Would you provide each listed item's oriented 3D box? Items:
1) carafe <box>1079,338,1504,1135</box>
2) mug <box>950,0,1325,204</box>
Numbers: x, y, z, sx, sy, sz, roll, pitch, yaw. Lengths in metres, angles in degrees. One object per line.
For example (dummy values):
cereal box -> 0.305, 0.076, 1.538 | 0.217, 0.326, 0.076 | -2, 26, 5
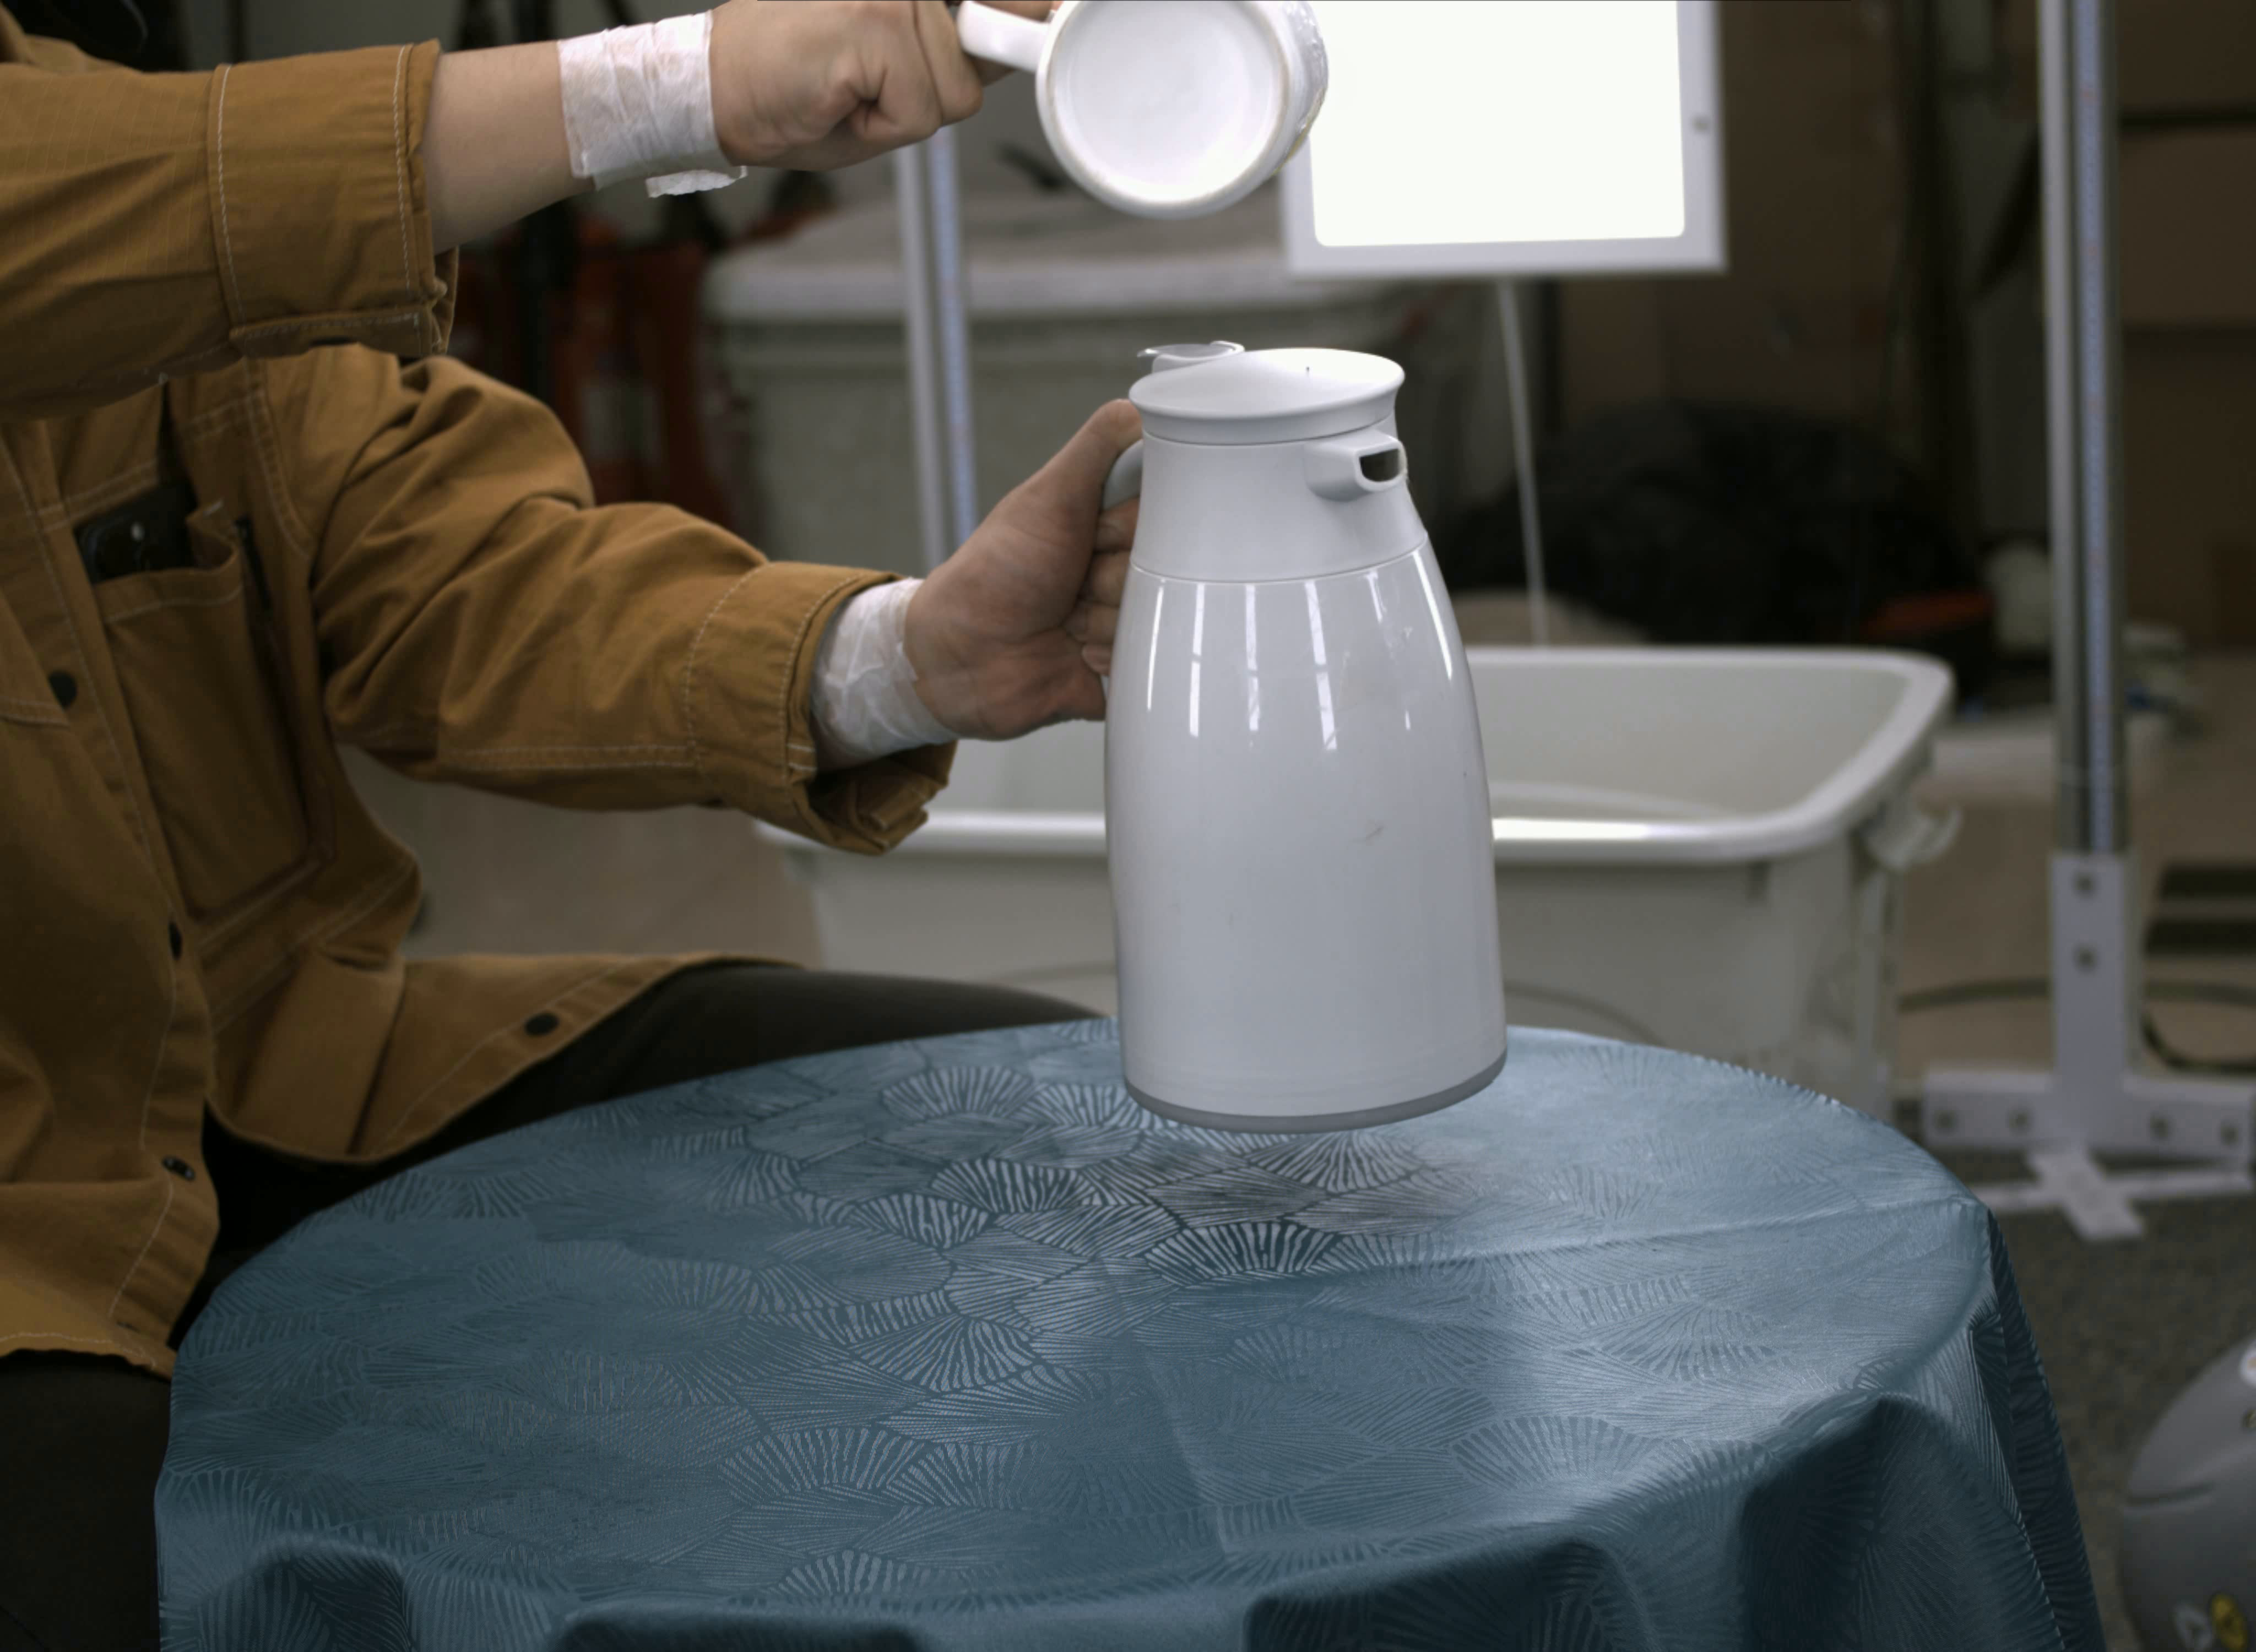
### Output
carafe -> 0.041, -0.039, 1.851 | 0.129, 0.249, 0.171 | -16, 20, -31
mug -> 0.002, -0.244, 1.740 | 0.118, 0.085, 0.101 | 16, 9, 5
